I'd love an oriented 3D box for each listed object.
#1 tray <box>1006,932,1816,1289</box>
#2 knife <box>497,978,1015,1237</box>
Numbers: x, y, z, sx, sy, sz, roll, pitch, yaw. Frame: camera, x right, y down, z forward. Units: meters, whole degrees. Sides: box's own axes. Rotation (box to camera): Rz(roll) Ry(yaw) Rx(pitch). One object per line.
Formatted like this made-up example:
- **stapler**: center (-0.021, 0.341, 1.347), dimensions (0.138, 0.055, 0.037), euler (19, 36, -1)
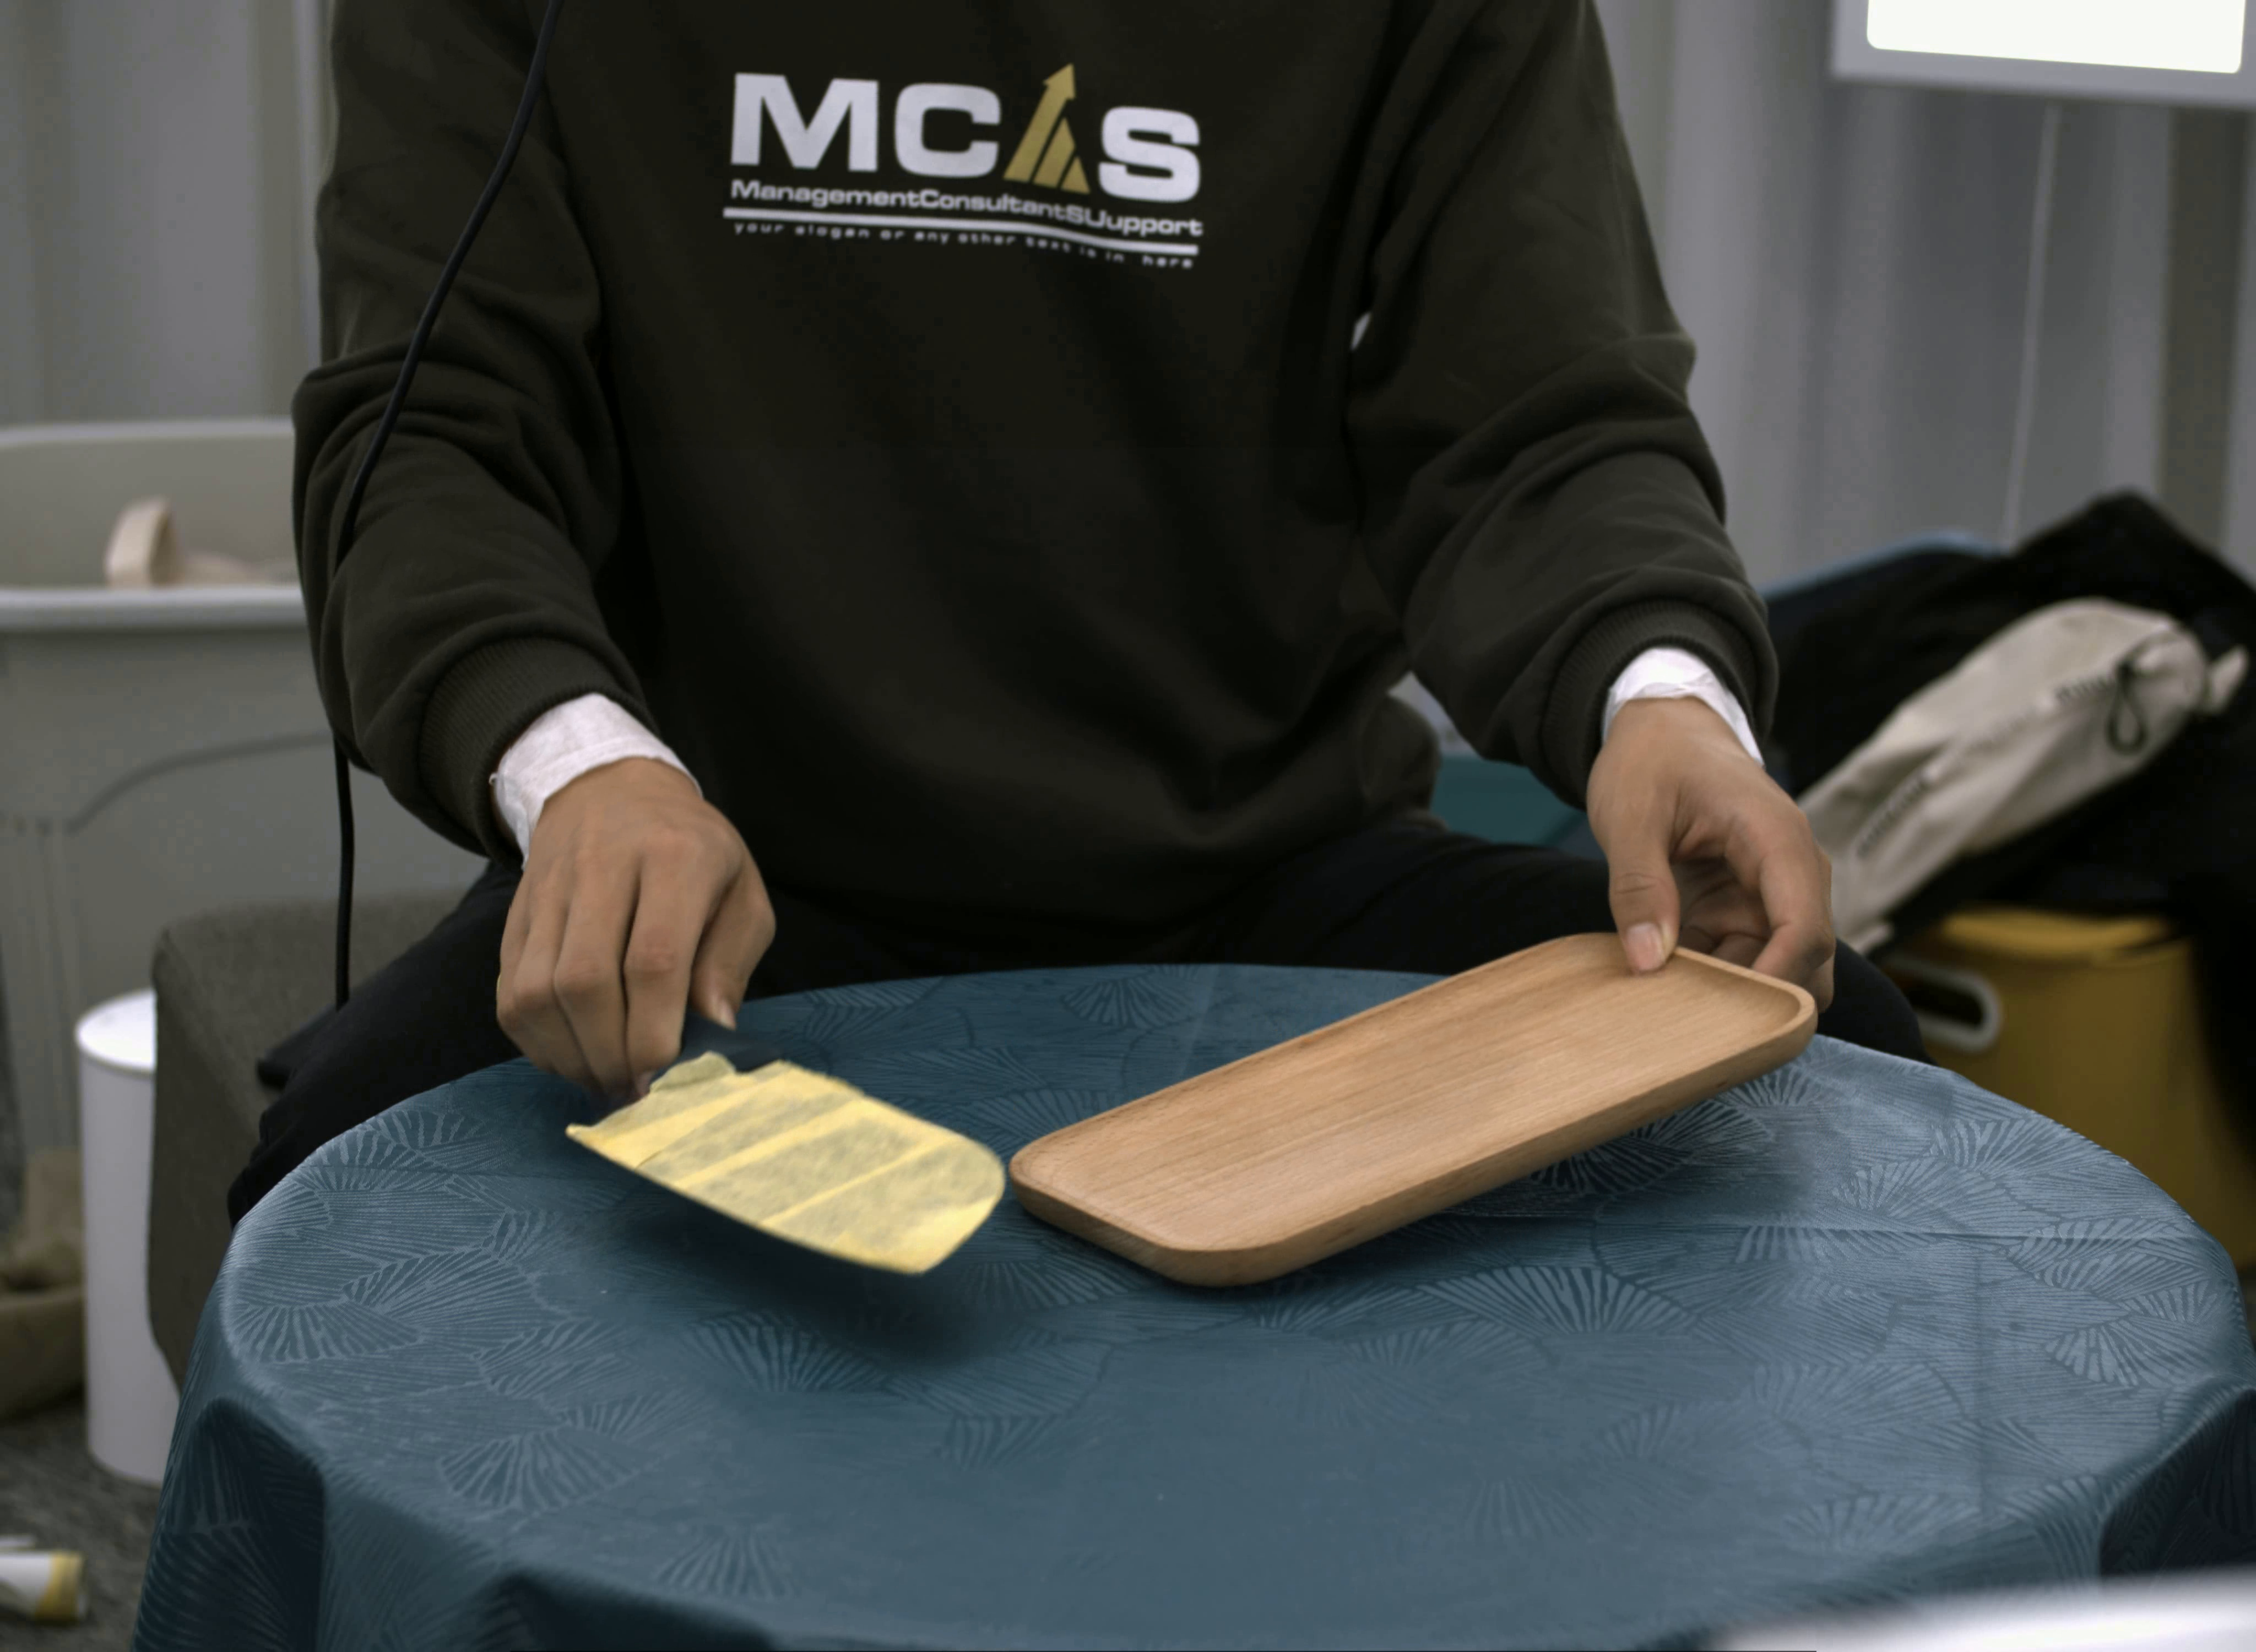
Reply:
- **tray**: center (0.090, 0.086, 1.626), dimensions (0.251, 0.023, 0.129), euler (-20, 20, -31)
- **knife**: center (-0.125, 0.086, 1.589), dimensions (0.081, 0.027, 0.286), euler (-20, 21, -30)
